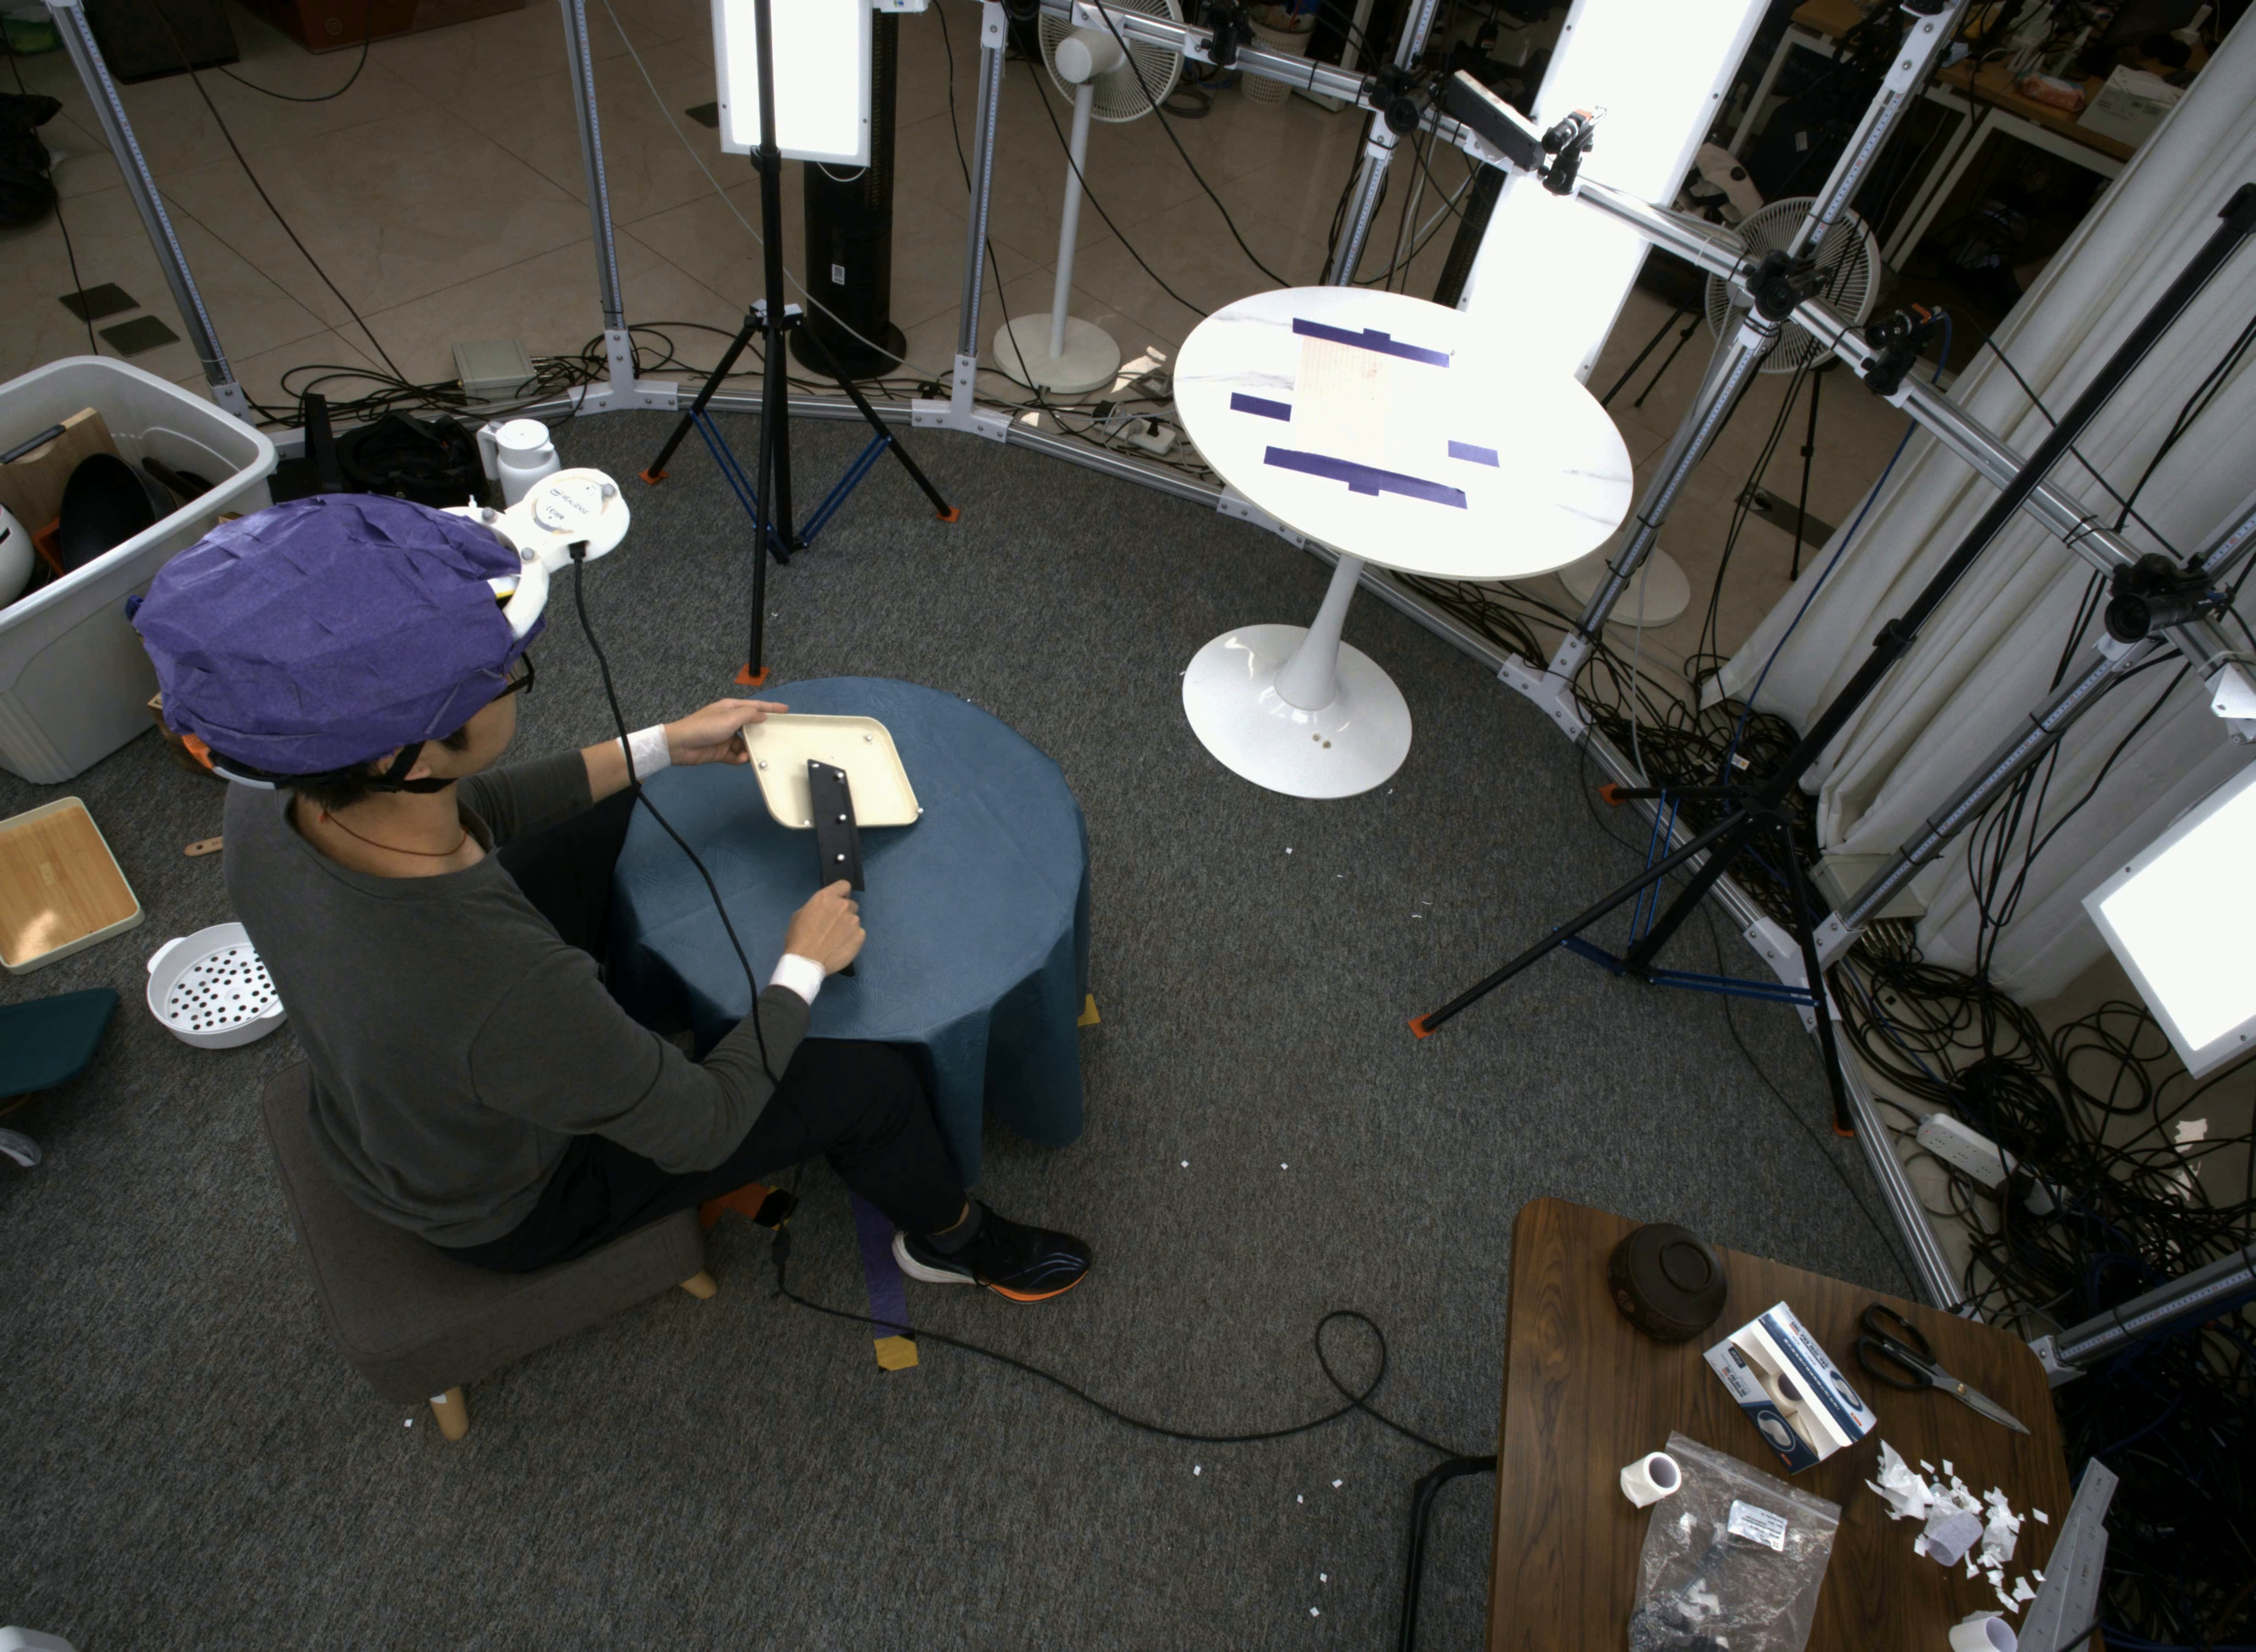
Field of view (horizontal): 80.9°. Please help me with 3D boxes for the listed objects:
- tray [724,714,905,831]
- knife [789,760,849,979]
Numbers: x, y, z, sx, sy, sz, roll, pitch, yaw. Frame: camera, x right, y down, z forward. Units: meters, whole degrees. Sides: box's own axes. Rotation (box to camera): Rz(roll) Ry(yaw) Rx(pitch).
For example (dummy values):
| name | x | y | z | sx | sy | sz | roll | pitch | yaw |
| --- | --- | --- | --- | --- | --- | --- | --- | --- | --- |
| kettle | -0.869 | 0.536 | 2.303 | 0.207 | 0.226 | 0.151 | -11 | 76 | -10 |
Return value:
| name | x | y | z | sx | sy | sz | roll | pitch | yaw |
| --- | --- | --- | --- | --- | --- | --- | --- | --- | --- |
| tray | -0.409 | -0.070 | 1.699 | 0.244 | 0.017 | 0.169 | -4 | 64 | -52 |
| knife | -0.380 | 0.048 | 1.616 | 0.083 | 0.020 | 0.297 | 21 | 48 | -46 |
